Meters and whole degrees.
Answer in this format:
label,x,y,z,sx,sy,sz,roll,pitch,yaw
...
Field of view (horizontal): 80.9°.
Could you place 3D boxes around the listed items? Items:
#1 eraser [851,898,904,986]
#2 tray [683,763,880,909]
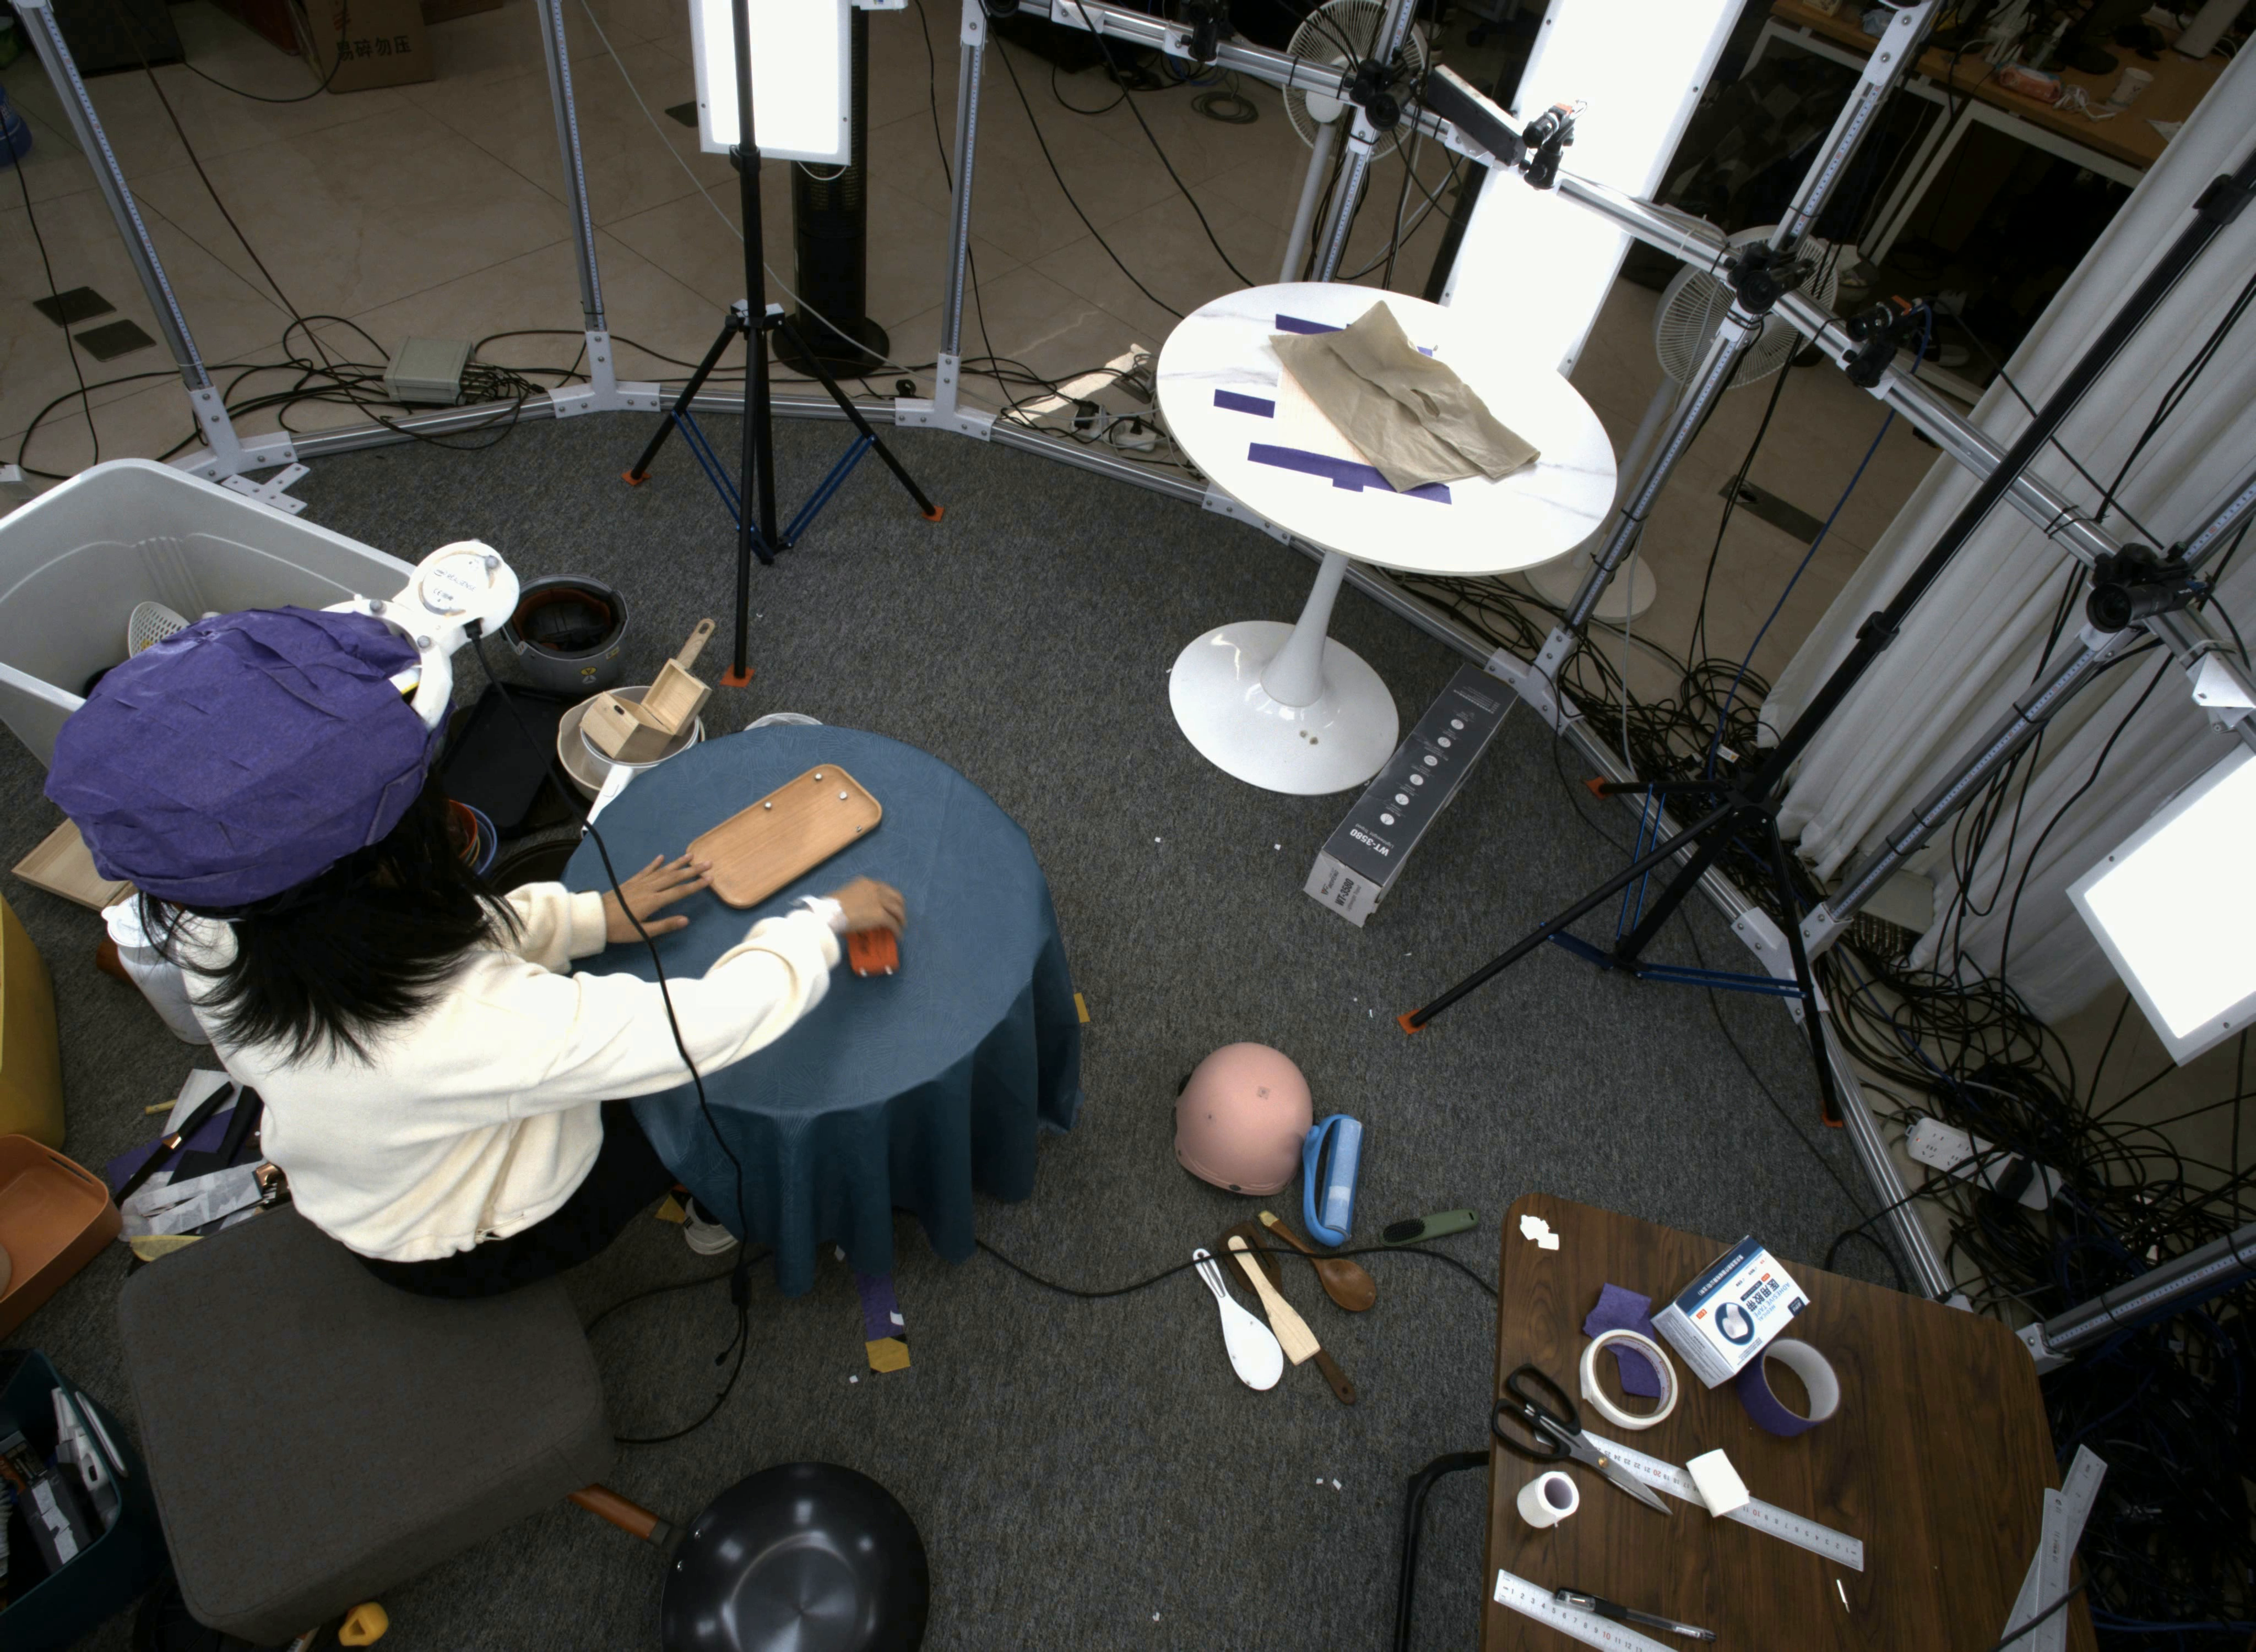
label,x,y,z,sx,sy,sz,roll,pitch,yaw
eraser,-0.312,0.141,1.616,0.059,0.023,0.106,-6,61,-11
tray,-0.450,0.009,1.693,0.127,0.023,0.251,41,55,20
